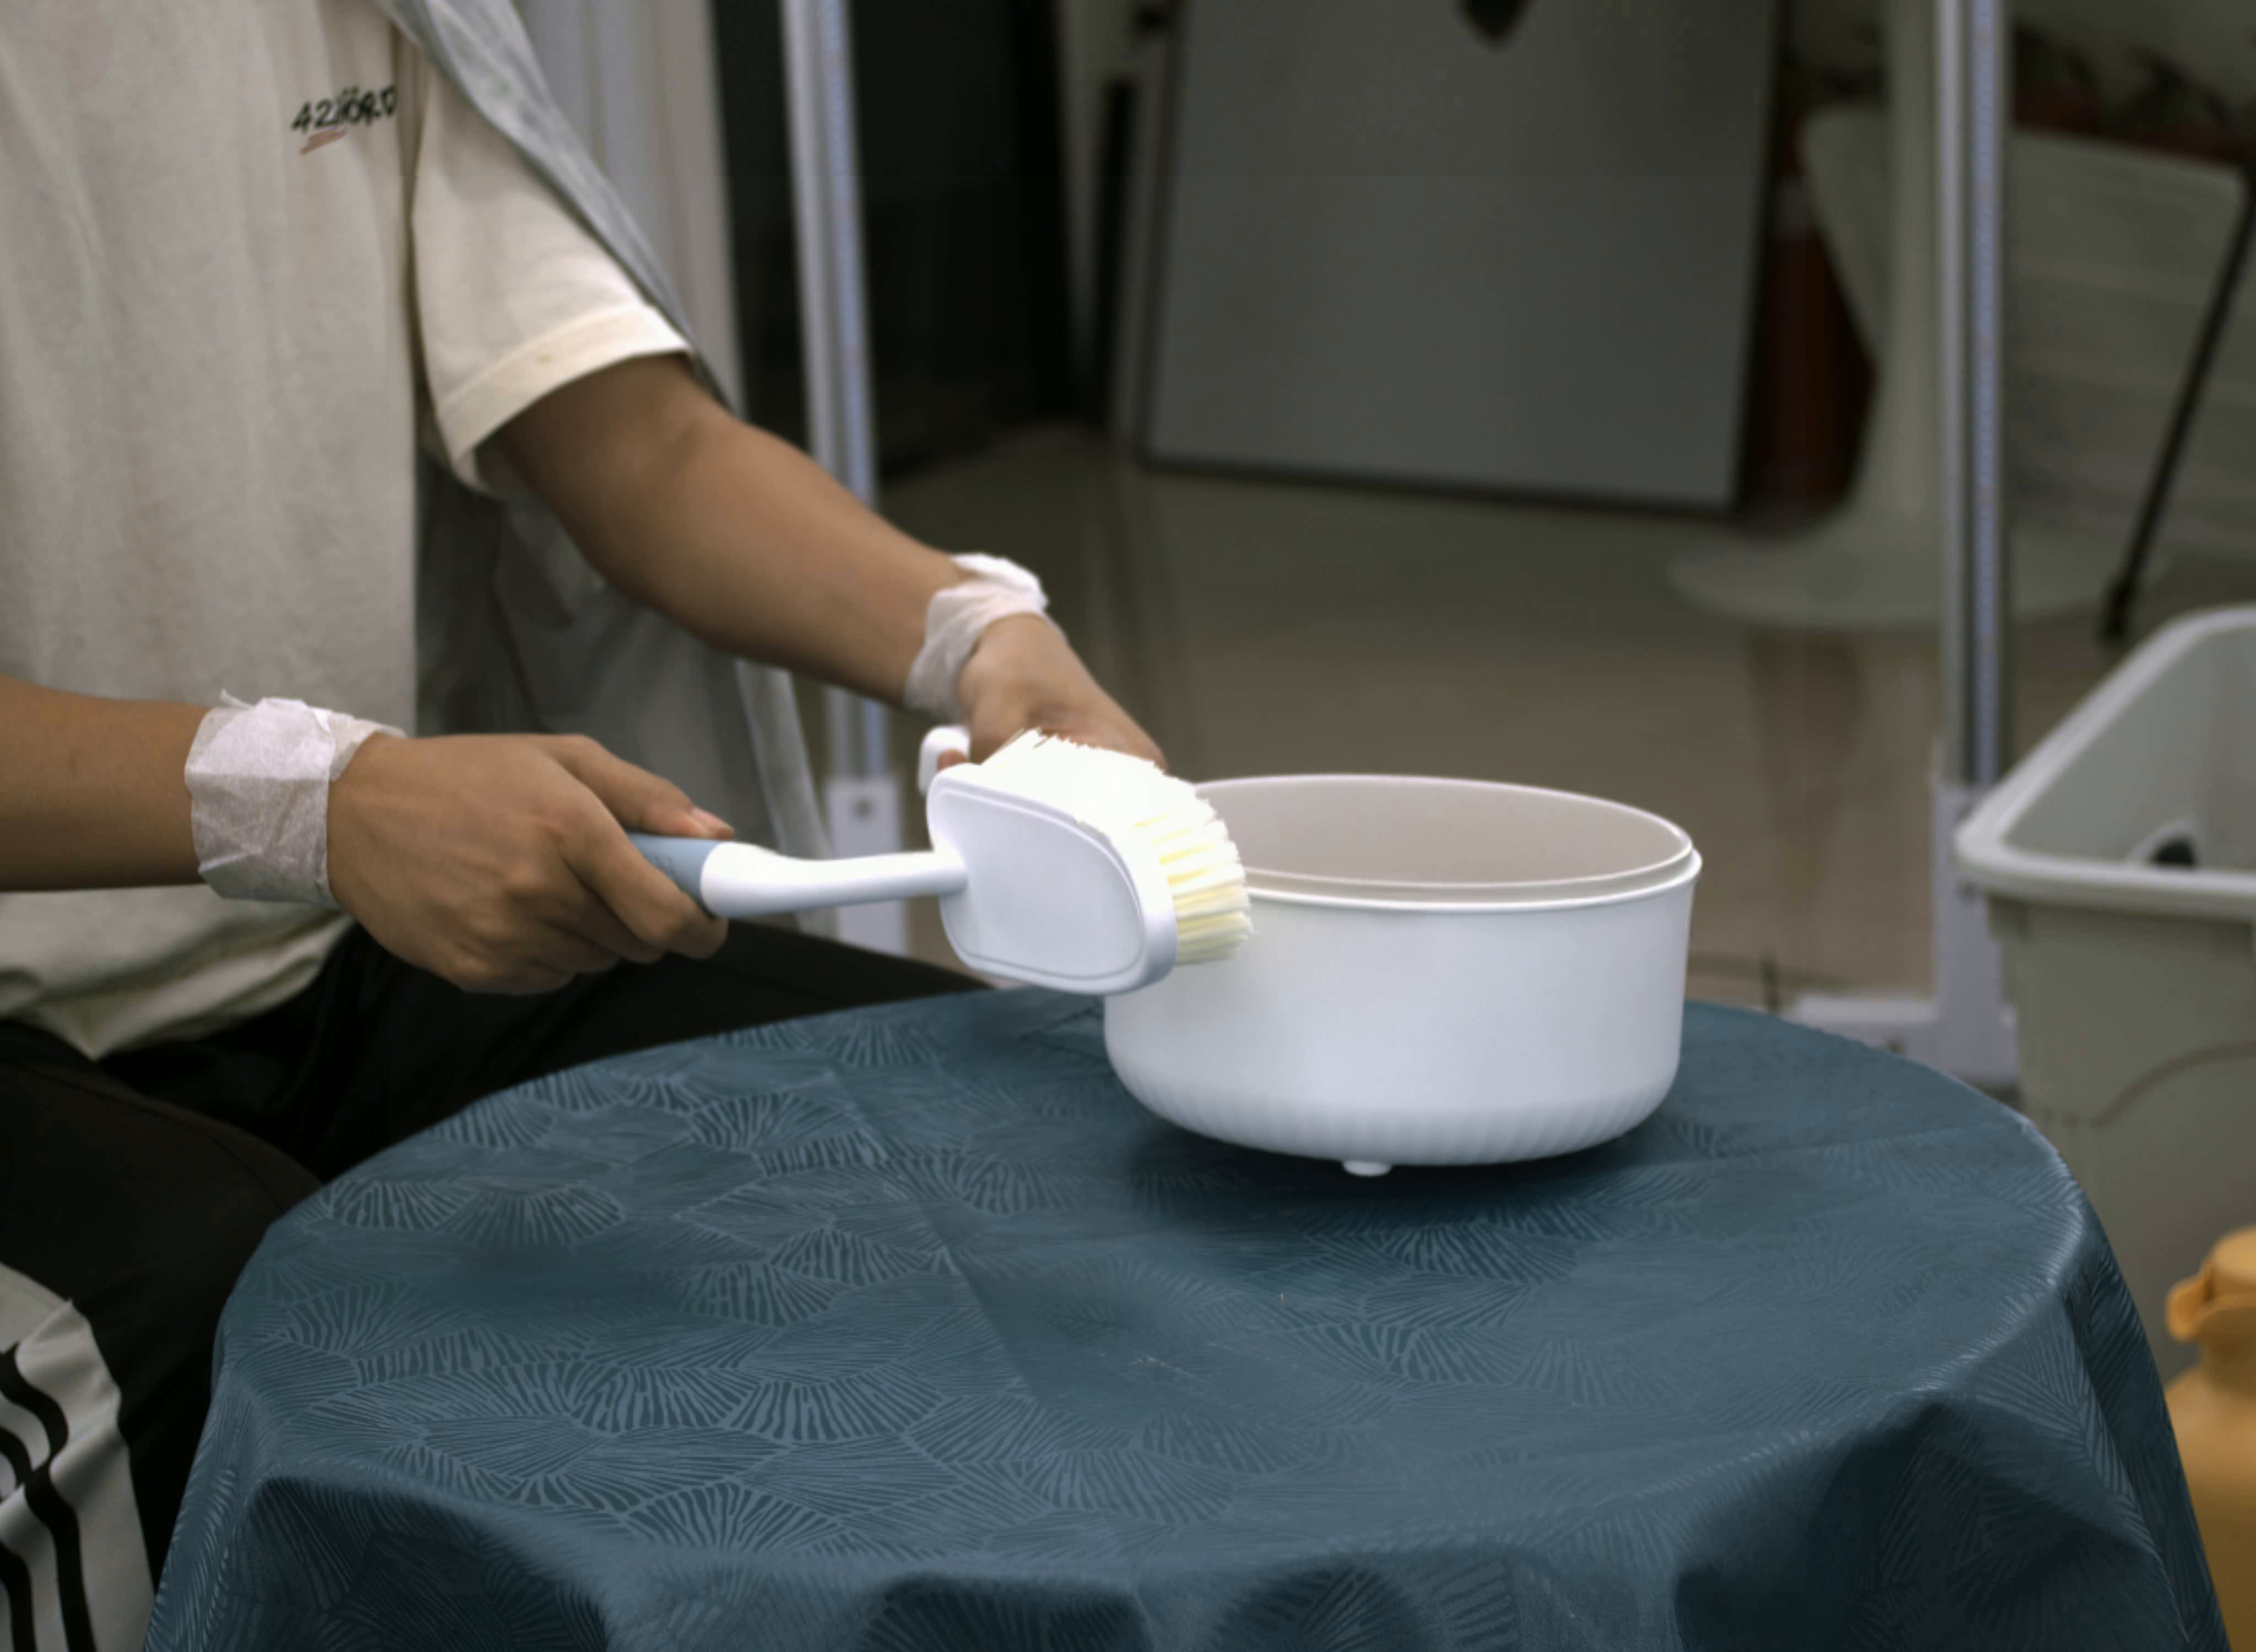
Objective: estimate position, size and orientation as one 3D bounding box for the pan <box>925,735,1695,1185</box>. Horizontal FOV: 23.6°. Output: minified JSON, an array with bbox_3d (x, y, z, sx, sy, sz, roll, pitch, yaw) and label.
[{"bbox_3d":[0.042,0.041,1.860,0.196,0.103,0.358,-7,12,-36],"label":"pan"}]

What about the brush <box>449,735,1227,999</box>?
[{"bbox_3d":[-0.088,0.006,1.740,0.328,0.084,0.083,5,-18,43],"label":"brush"}]
